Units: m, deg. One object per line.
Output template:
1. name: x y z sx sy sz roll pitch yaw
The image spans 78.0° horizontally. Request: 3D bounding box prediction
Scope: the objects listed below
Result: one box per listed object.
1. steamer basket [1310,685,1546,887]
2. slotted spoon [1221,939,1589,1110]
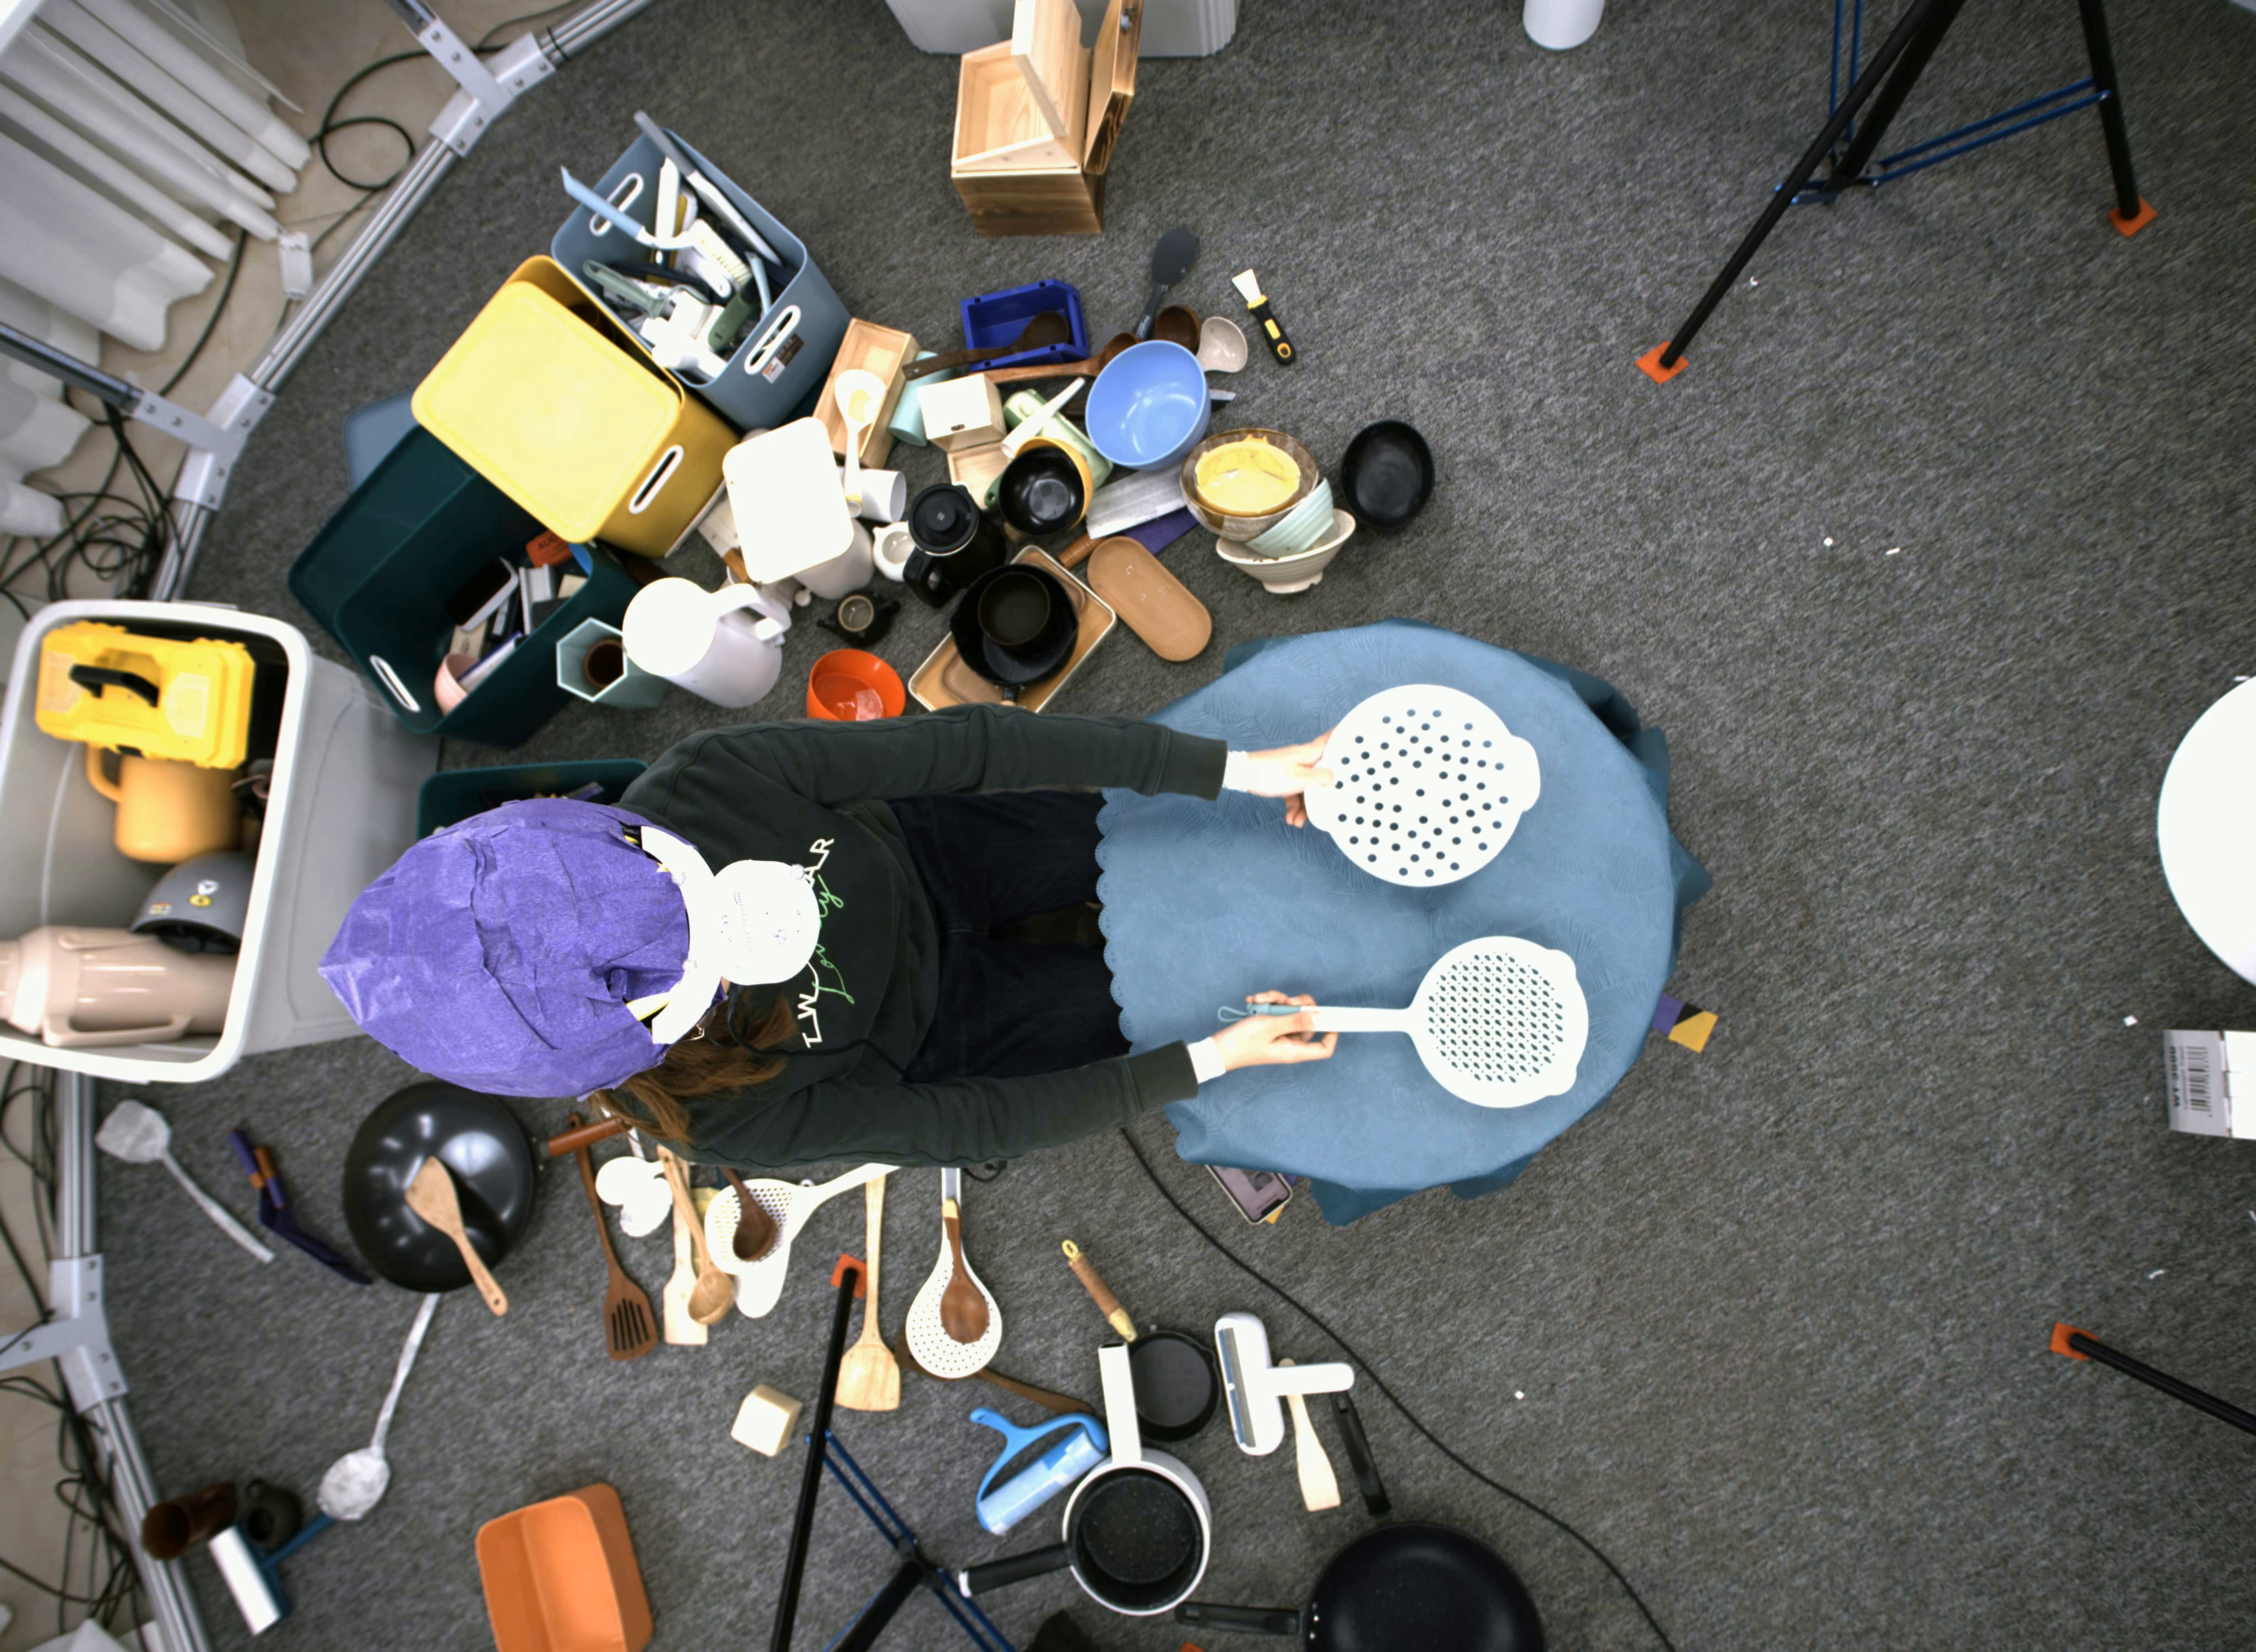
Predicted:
1. steamer basket: 0.302 -0.040 1.391 0.232 0.069 0.200 -8 82 13
2. slotted spoon: 0.275 0.196 1.393 0.359 0.075 0.169 0 89 1
